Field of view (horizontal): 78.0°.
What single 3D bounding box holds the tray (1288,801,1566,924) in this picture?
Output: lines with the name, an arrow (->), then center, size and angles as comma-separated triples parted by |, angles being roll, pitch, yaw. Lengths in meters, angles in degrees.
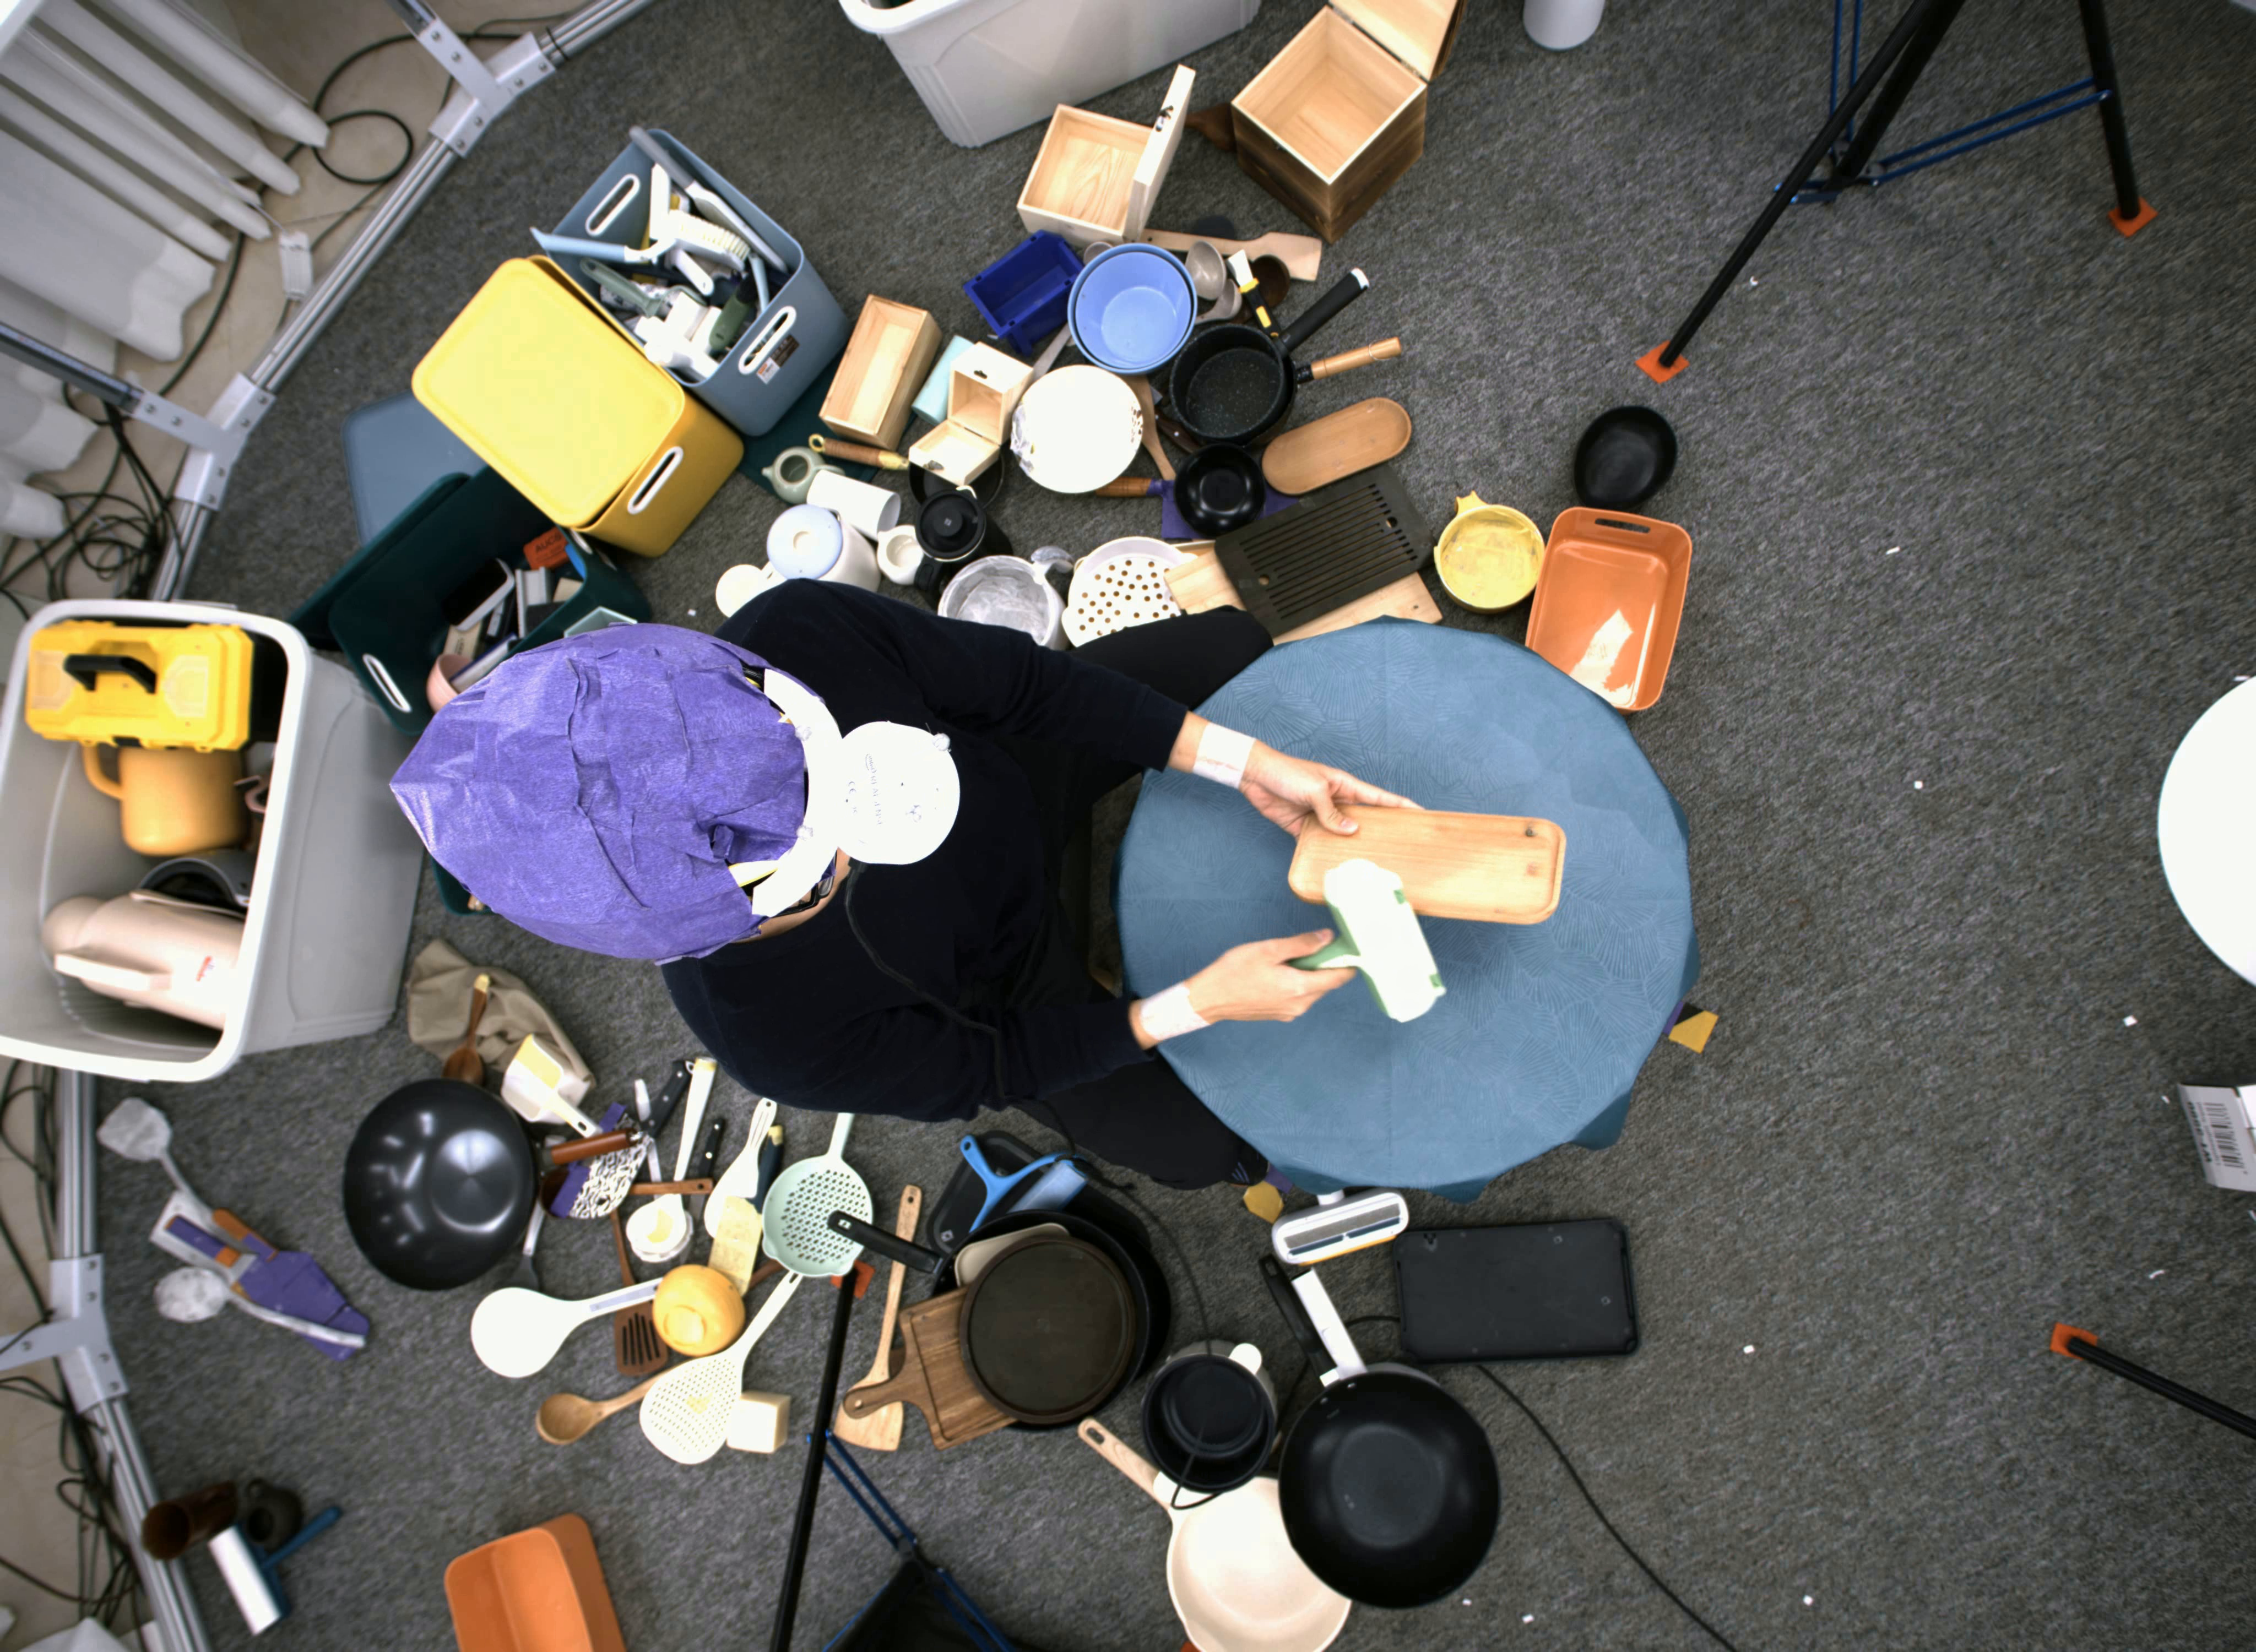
tray -> 0.282, 0.032, 1.303 | 0.252, 0.023, 0.127 | 5, 47, 21

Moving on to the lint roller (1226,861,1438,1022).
lint roller -> 0.182, 0.136, 1.285 | 0.184, 0.202, 0.080 | -26, 44, 7
